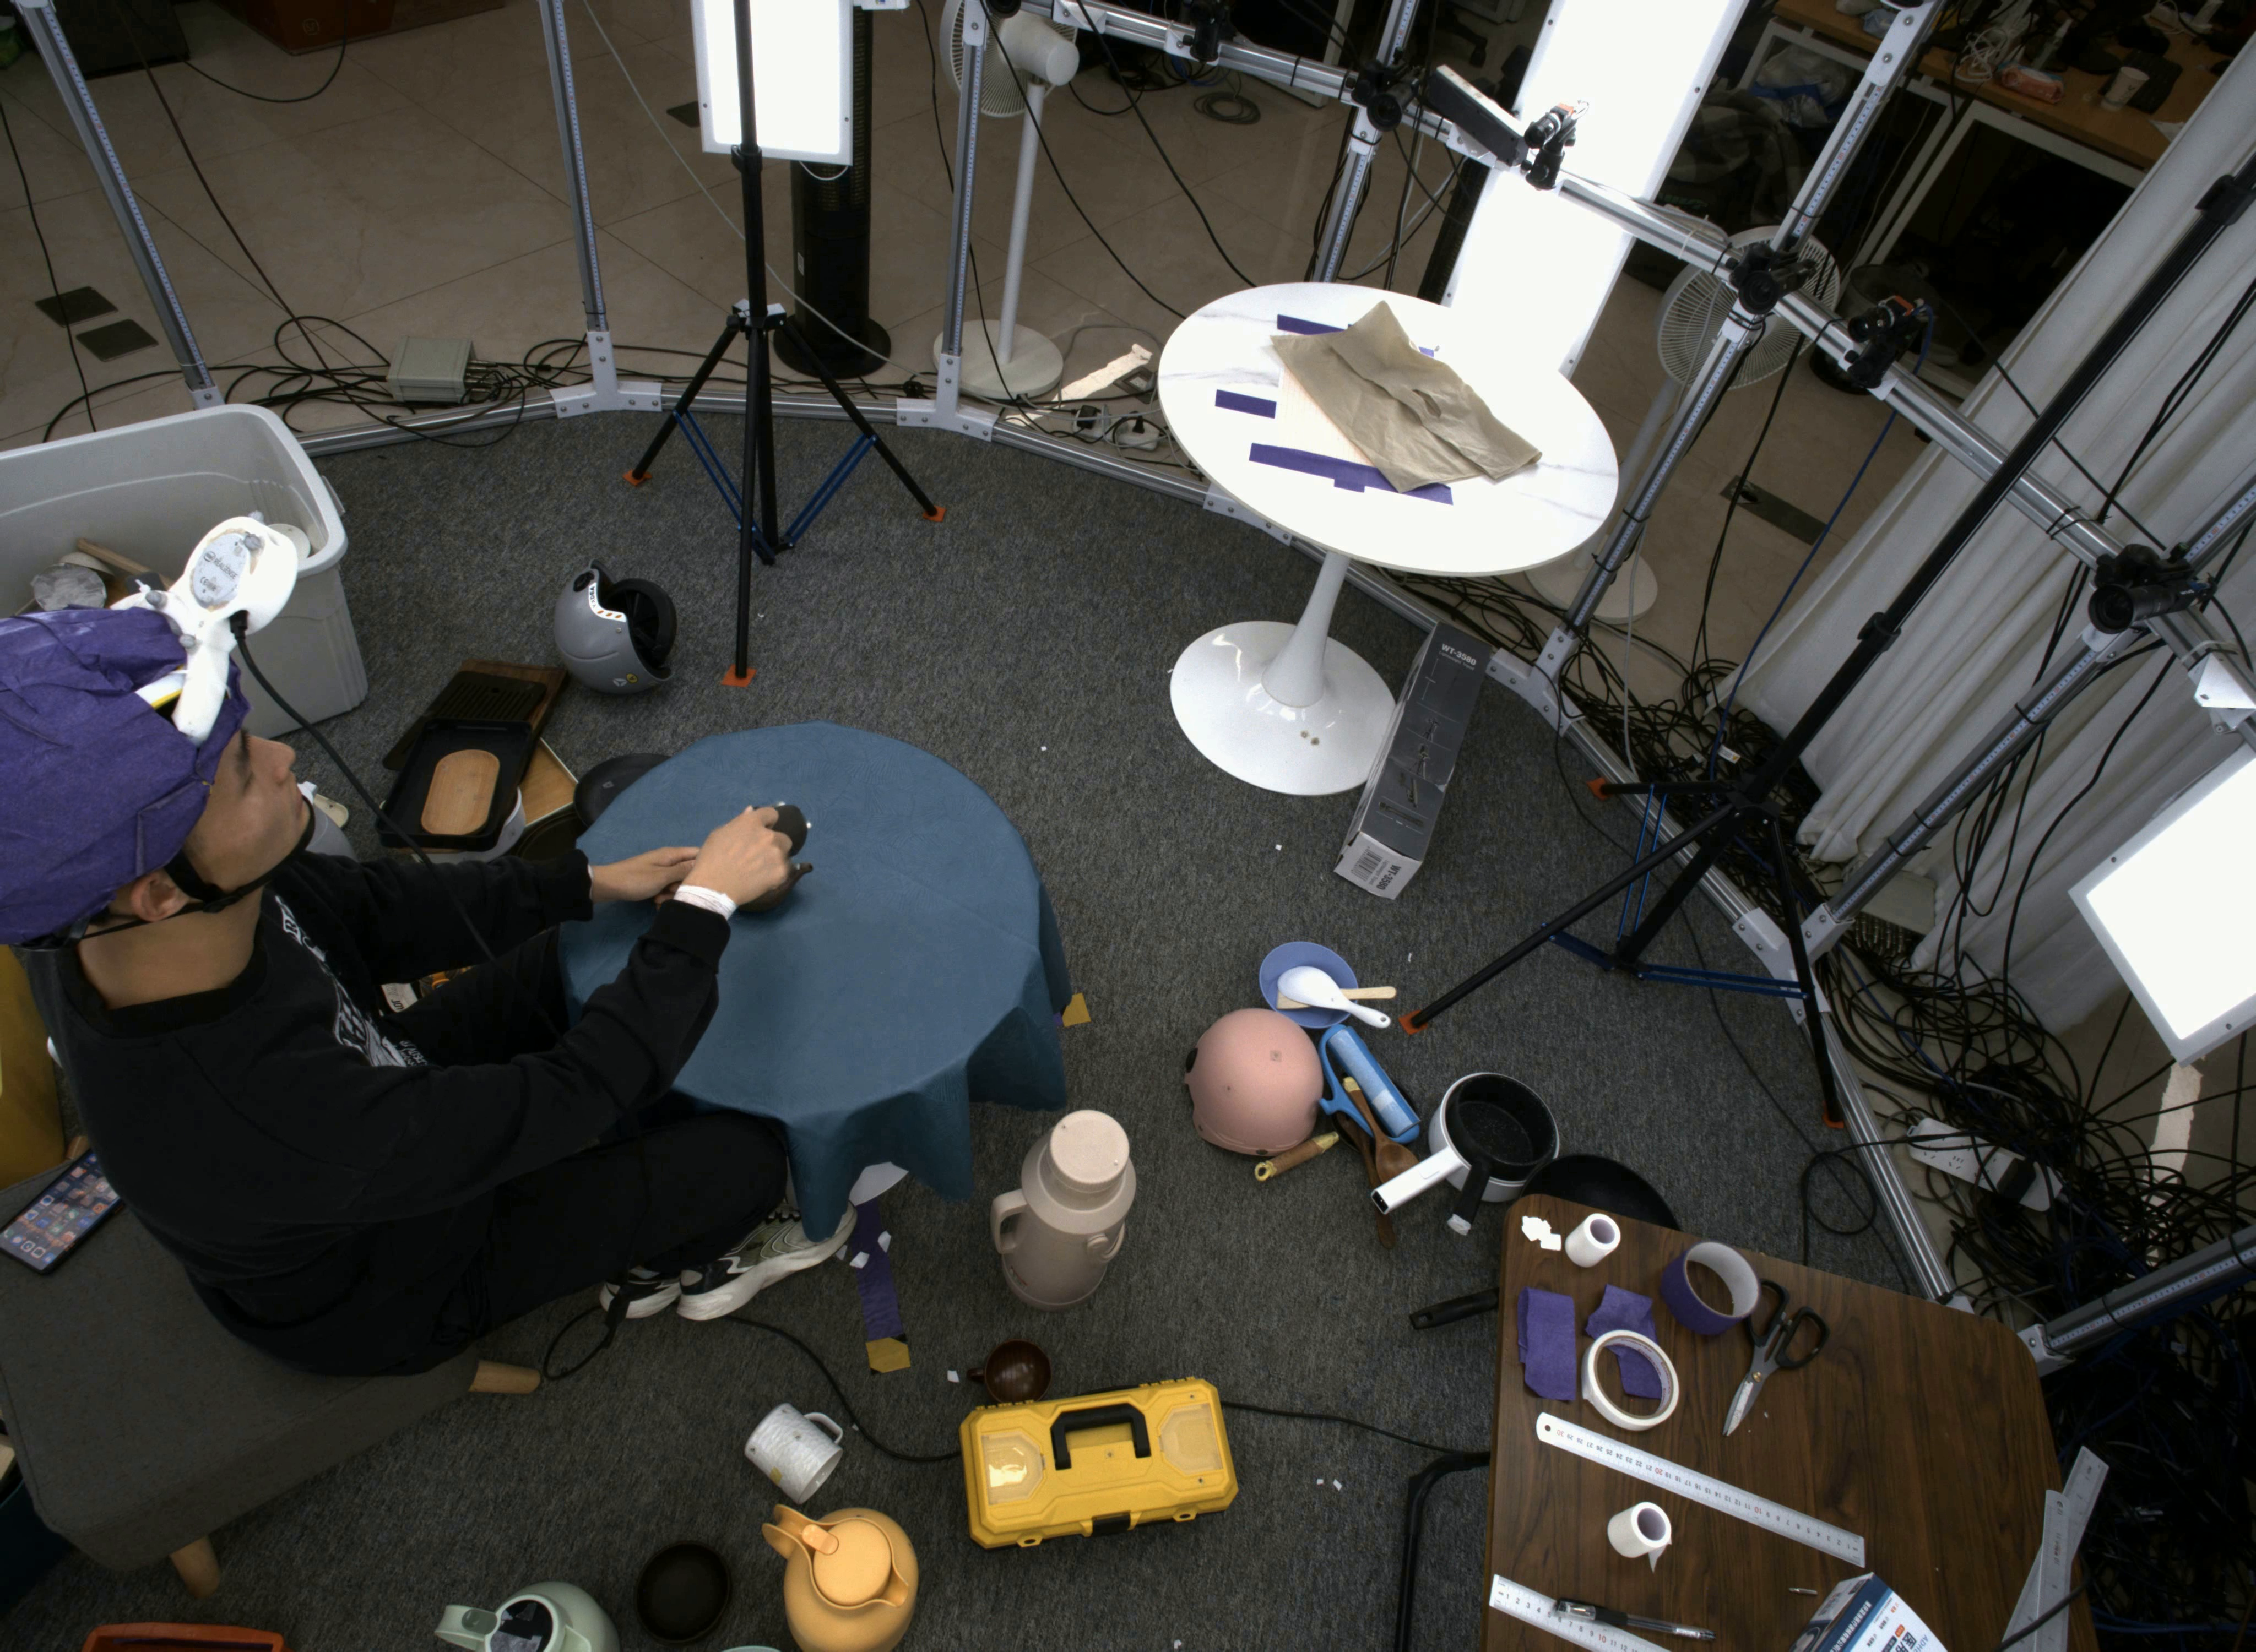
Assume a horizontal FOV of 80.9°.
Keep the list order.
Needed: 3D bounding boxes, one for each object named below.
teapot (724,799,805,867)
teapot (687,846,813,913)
[{"bbox_3d":[-0.413,0.005,1.475,0.092,0.153,0.065,-26,90,-9],"label":"teapot"},{"bbox_3d":[-0.475,0.059,1.626,0.154,0.055,0.100,0,54,-19],"label":"teapot"}]
